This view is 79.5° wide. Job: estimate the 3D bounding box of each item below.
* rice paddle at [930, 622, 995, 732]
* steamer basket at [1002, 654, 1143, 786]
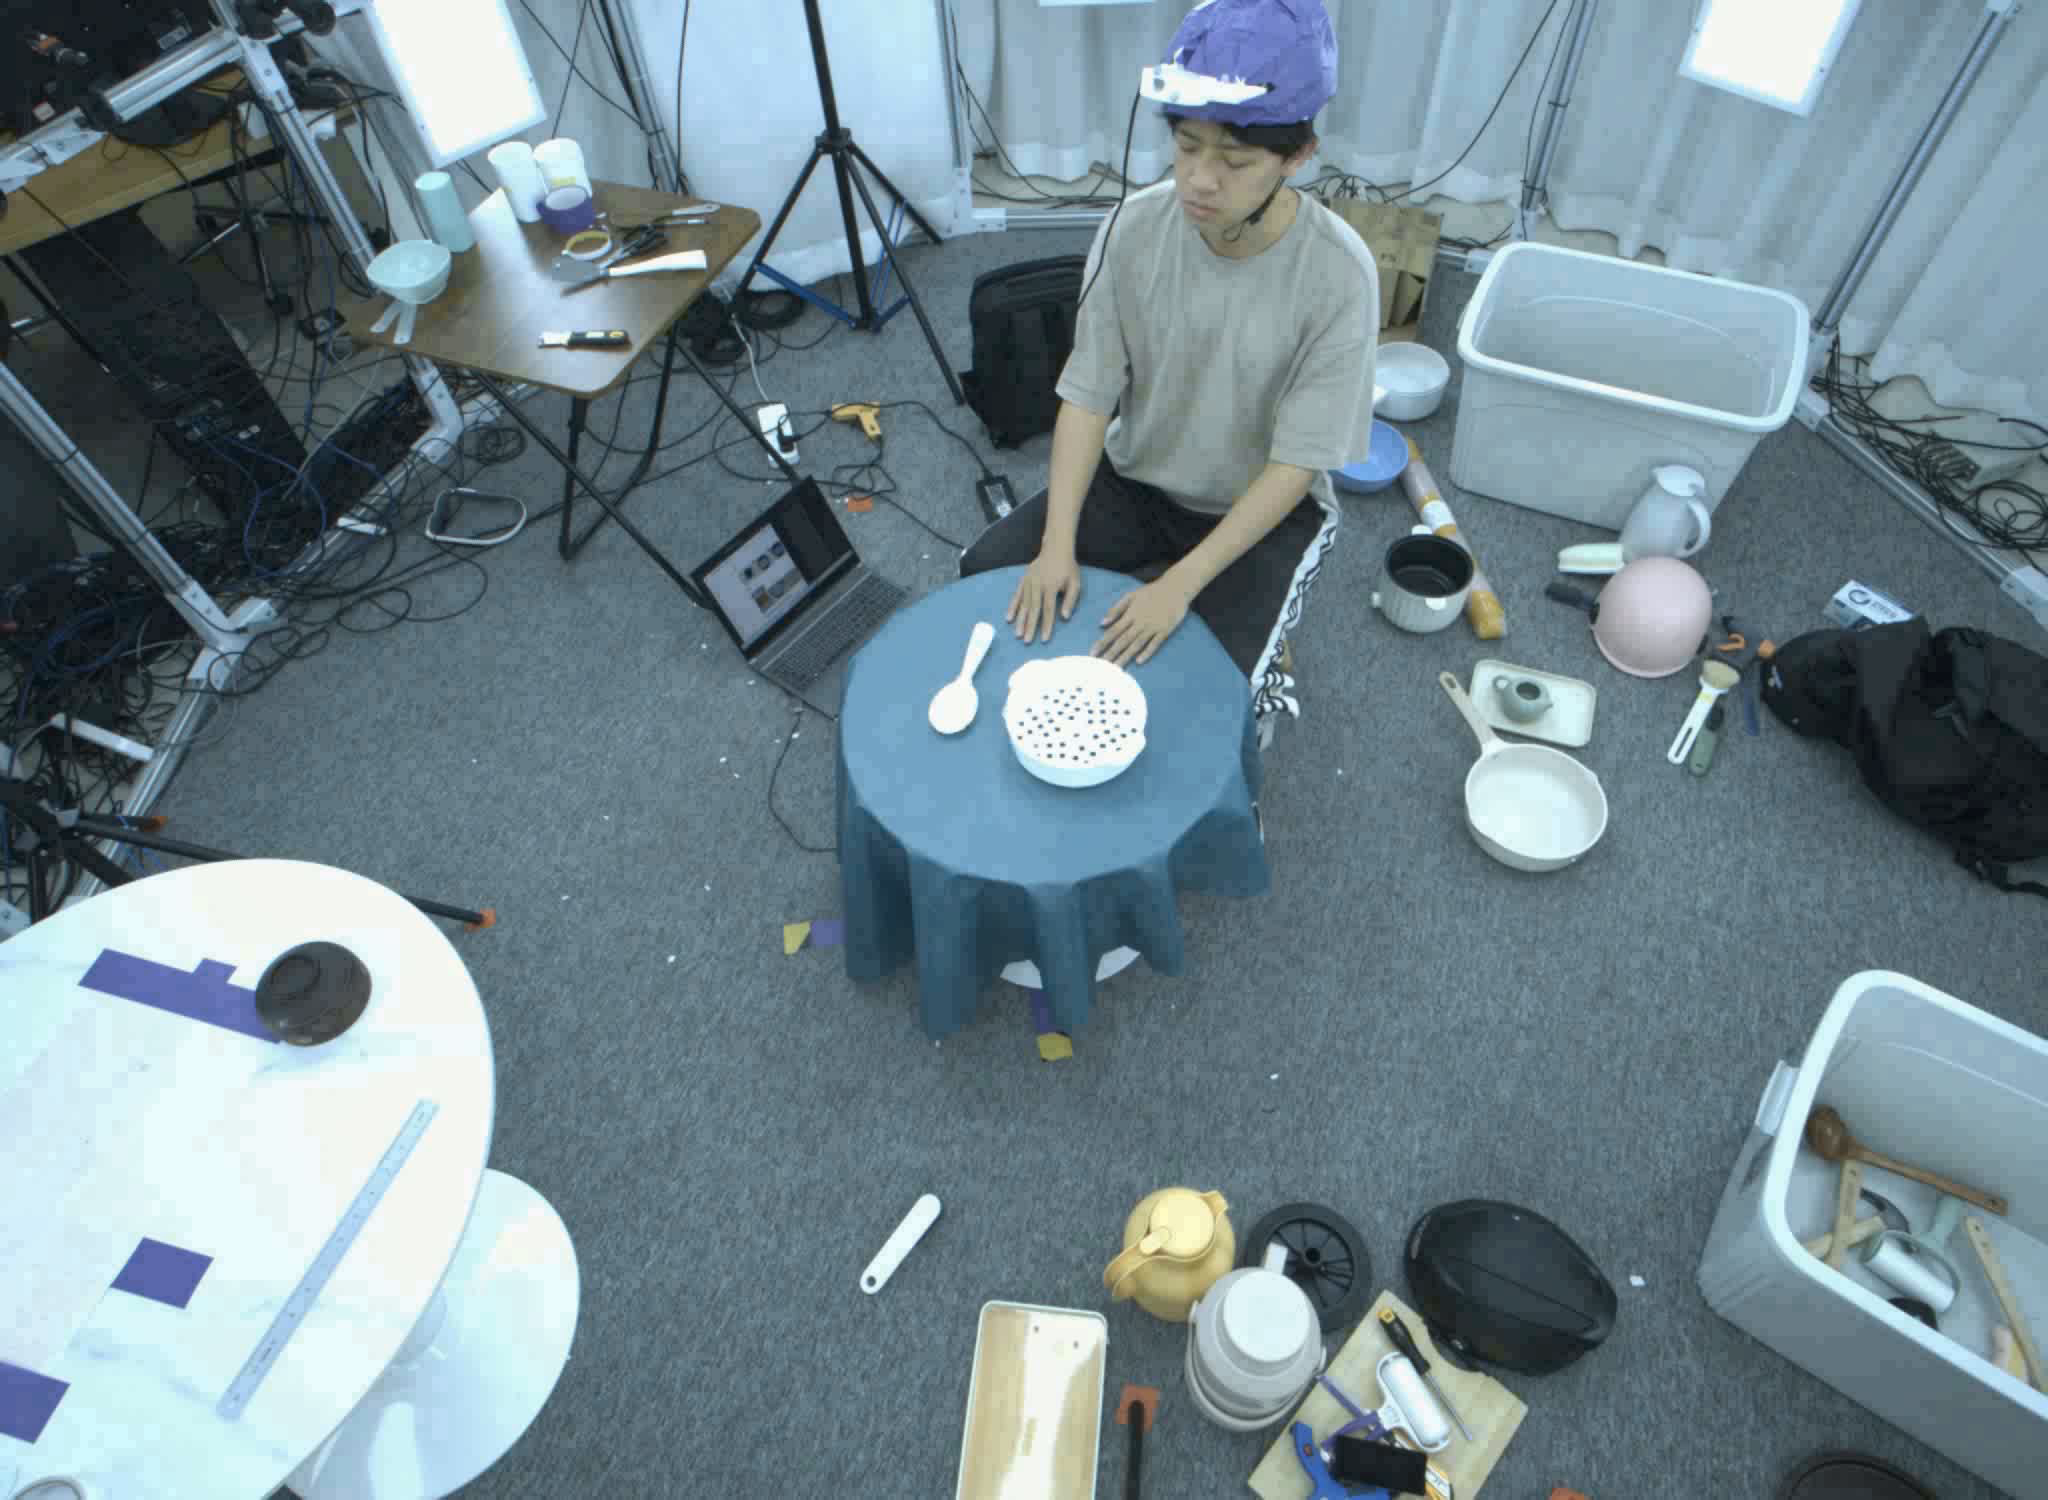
[{"bbox_3d":[-0.087,-0.109,1.847,0.068,0.030,0.204,11,56,12],"label":"rice paddle"},{"bbox_3d":[0.071,-0.042,1.771,0.203,0.070,0.226,-40,64,-22],"label":"steamer basket"}]
